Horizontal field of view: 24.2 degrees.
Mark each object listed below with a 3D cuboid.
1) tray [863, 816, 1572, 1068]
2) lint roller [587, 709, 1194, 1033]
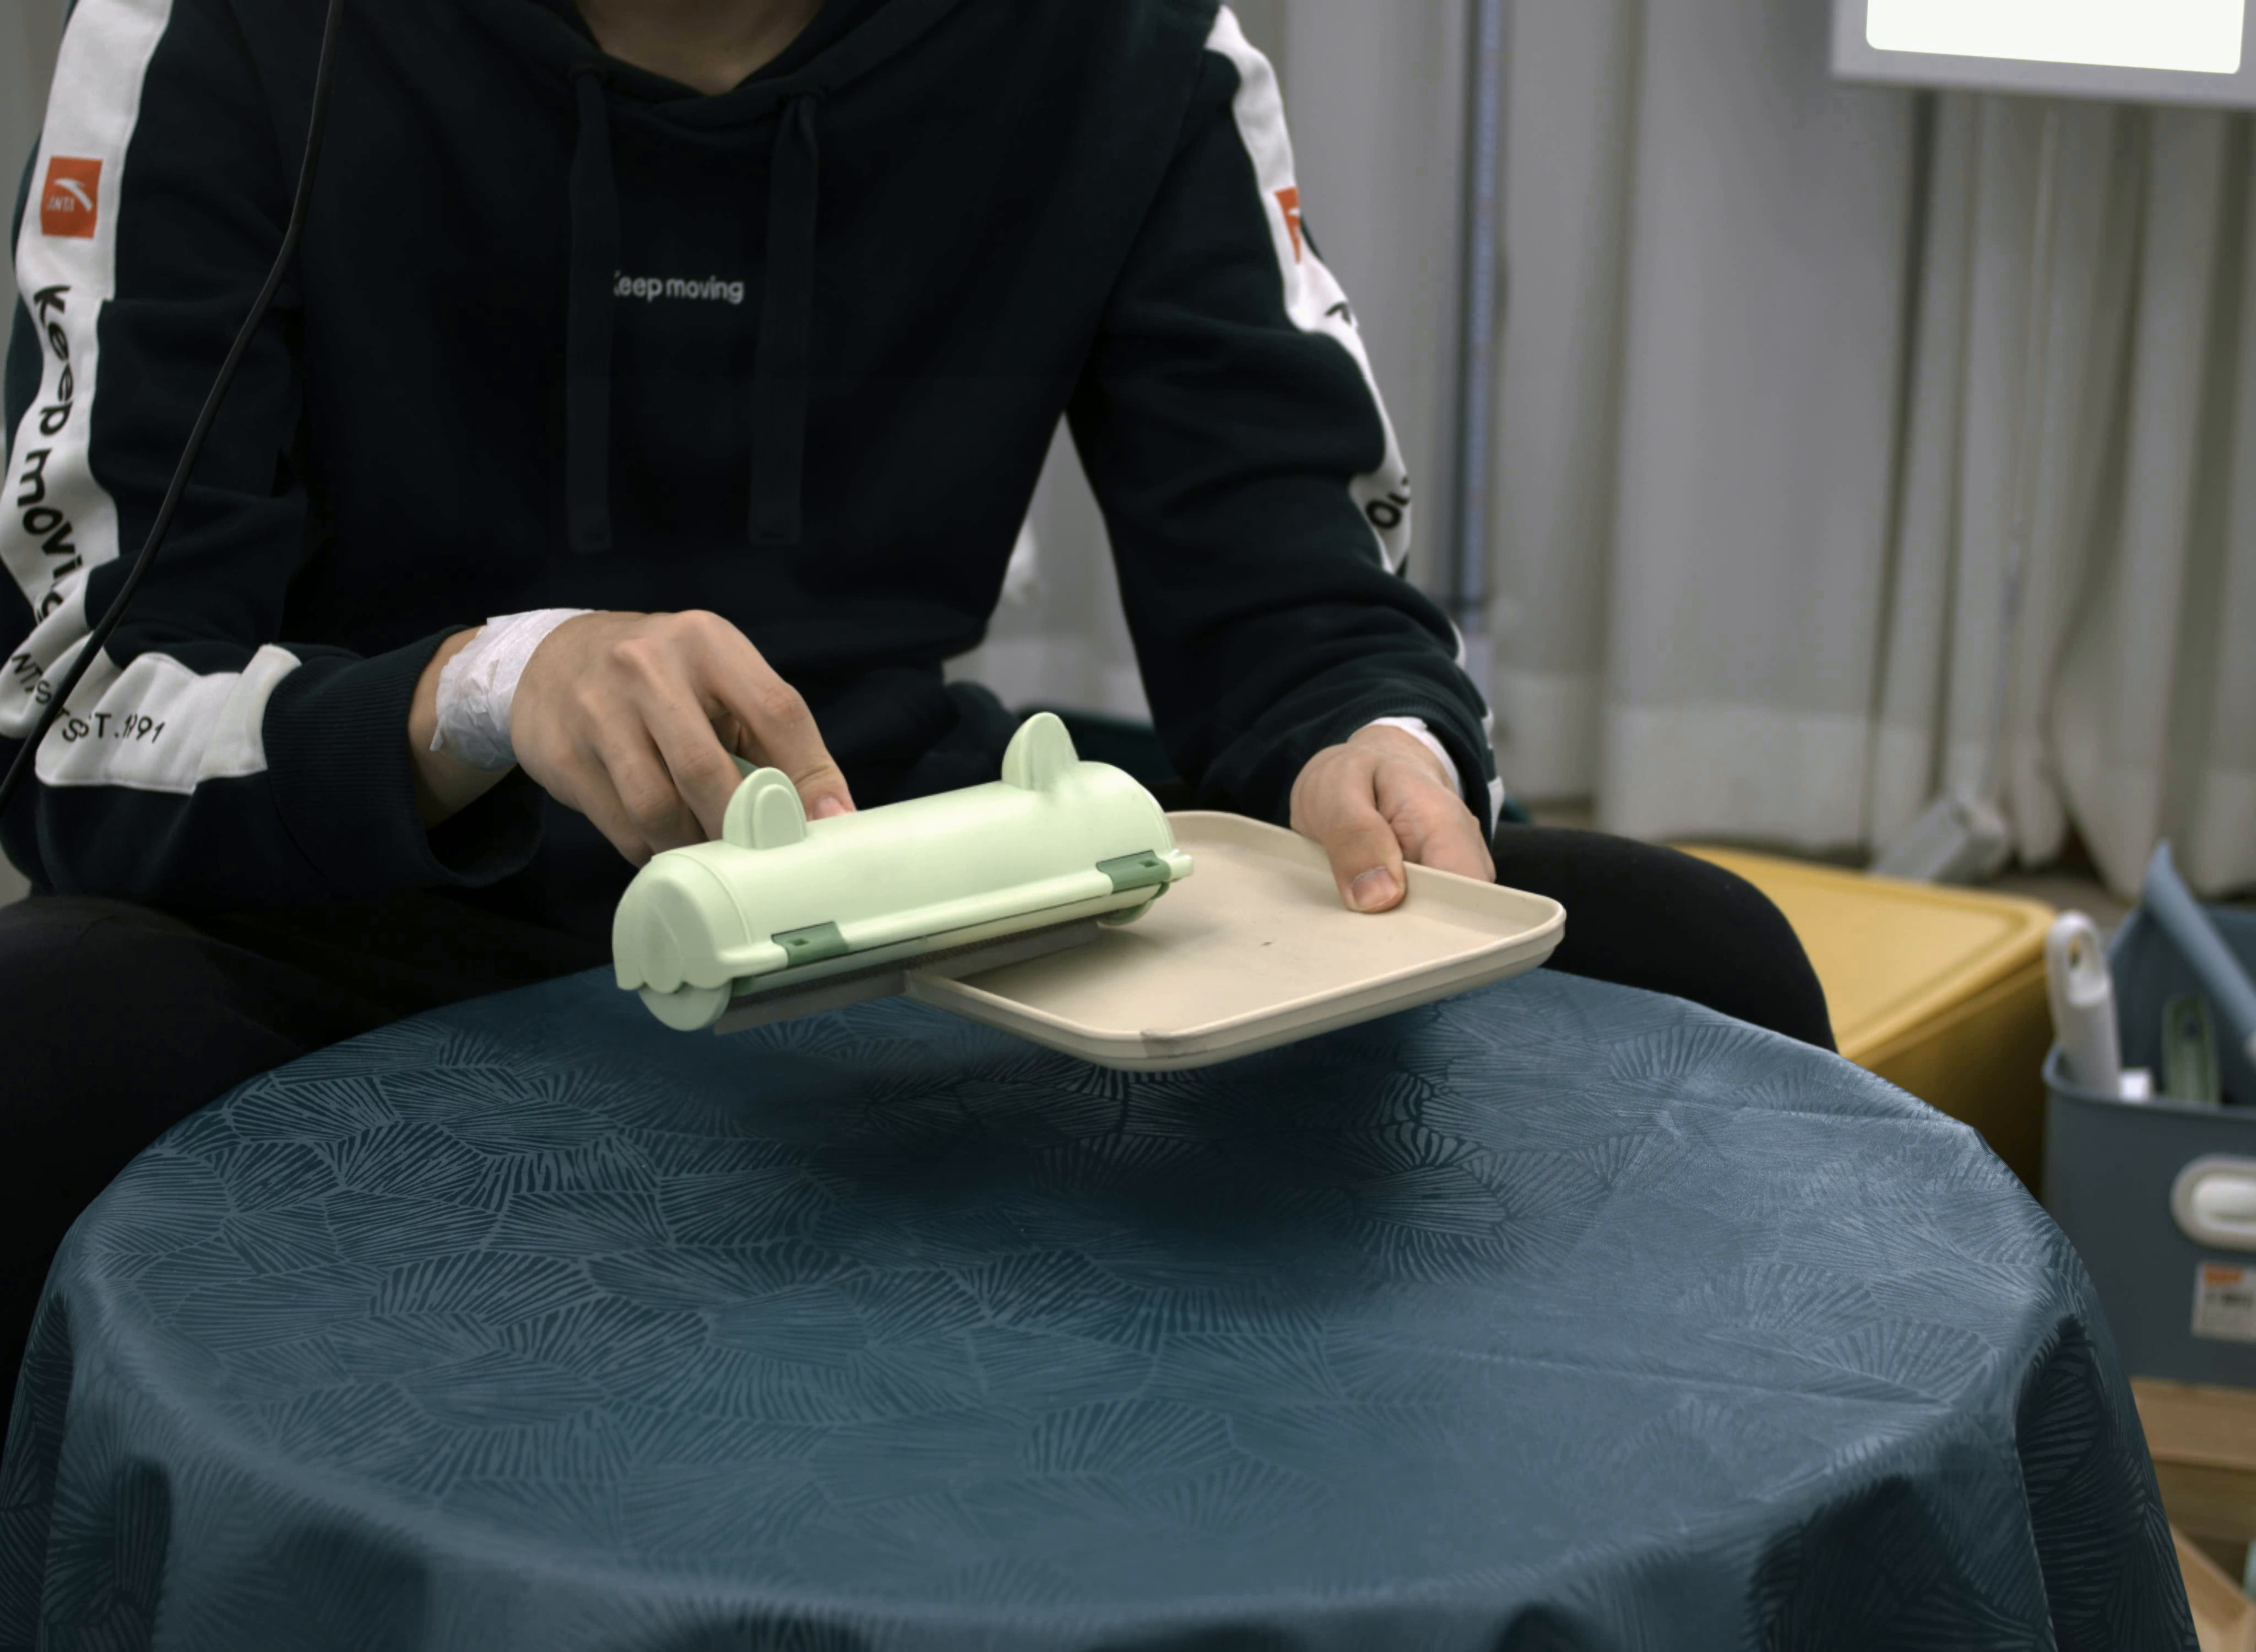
[{"bbox_3d":[0.014,0.035,1.650,0.172,0.017,0.237,-14,15,-30],"label":"tray"},{"bbox_3d":[-0.105,-0.010,1.648,0.199,0.083,0.181,-13,36,-44],"label":"lint roller"}]
